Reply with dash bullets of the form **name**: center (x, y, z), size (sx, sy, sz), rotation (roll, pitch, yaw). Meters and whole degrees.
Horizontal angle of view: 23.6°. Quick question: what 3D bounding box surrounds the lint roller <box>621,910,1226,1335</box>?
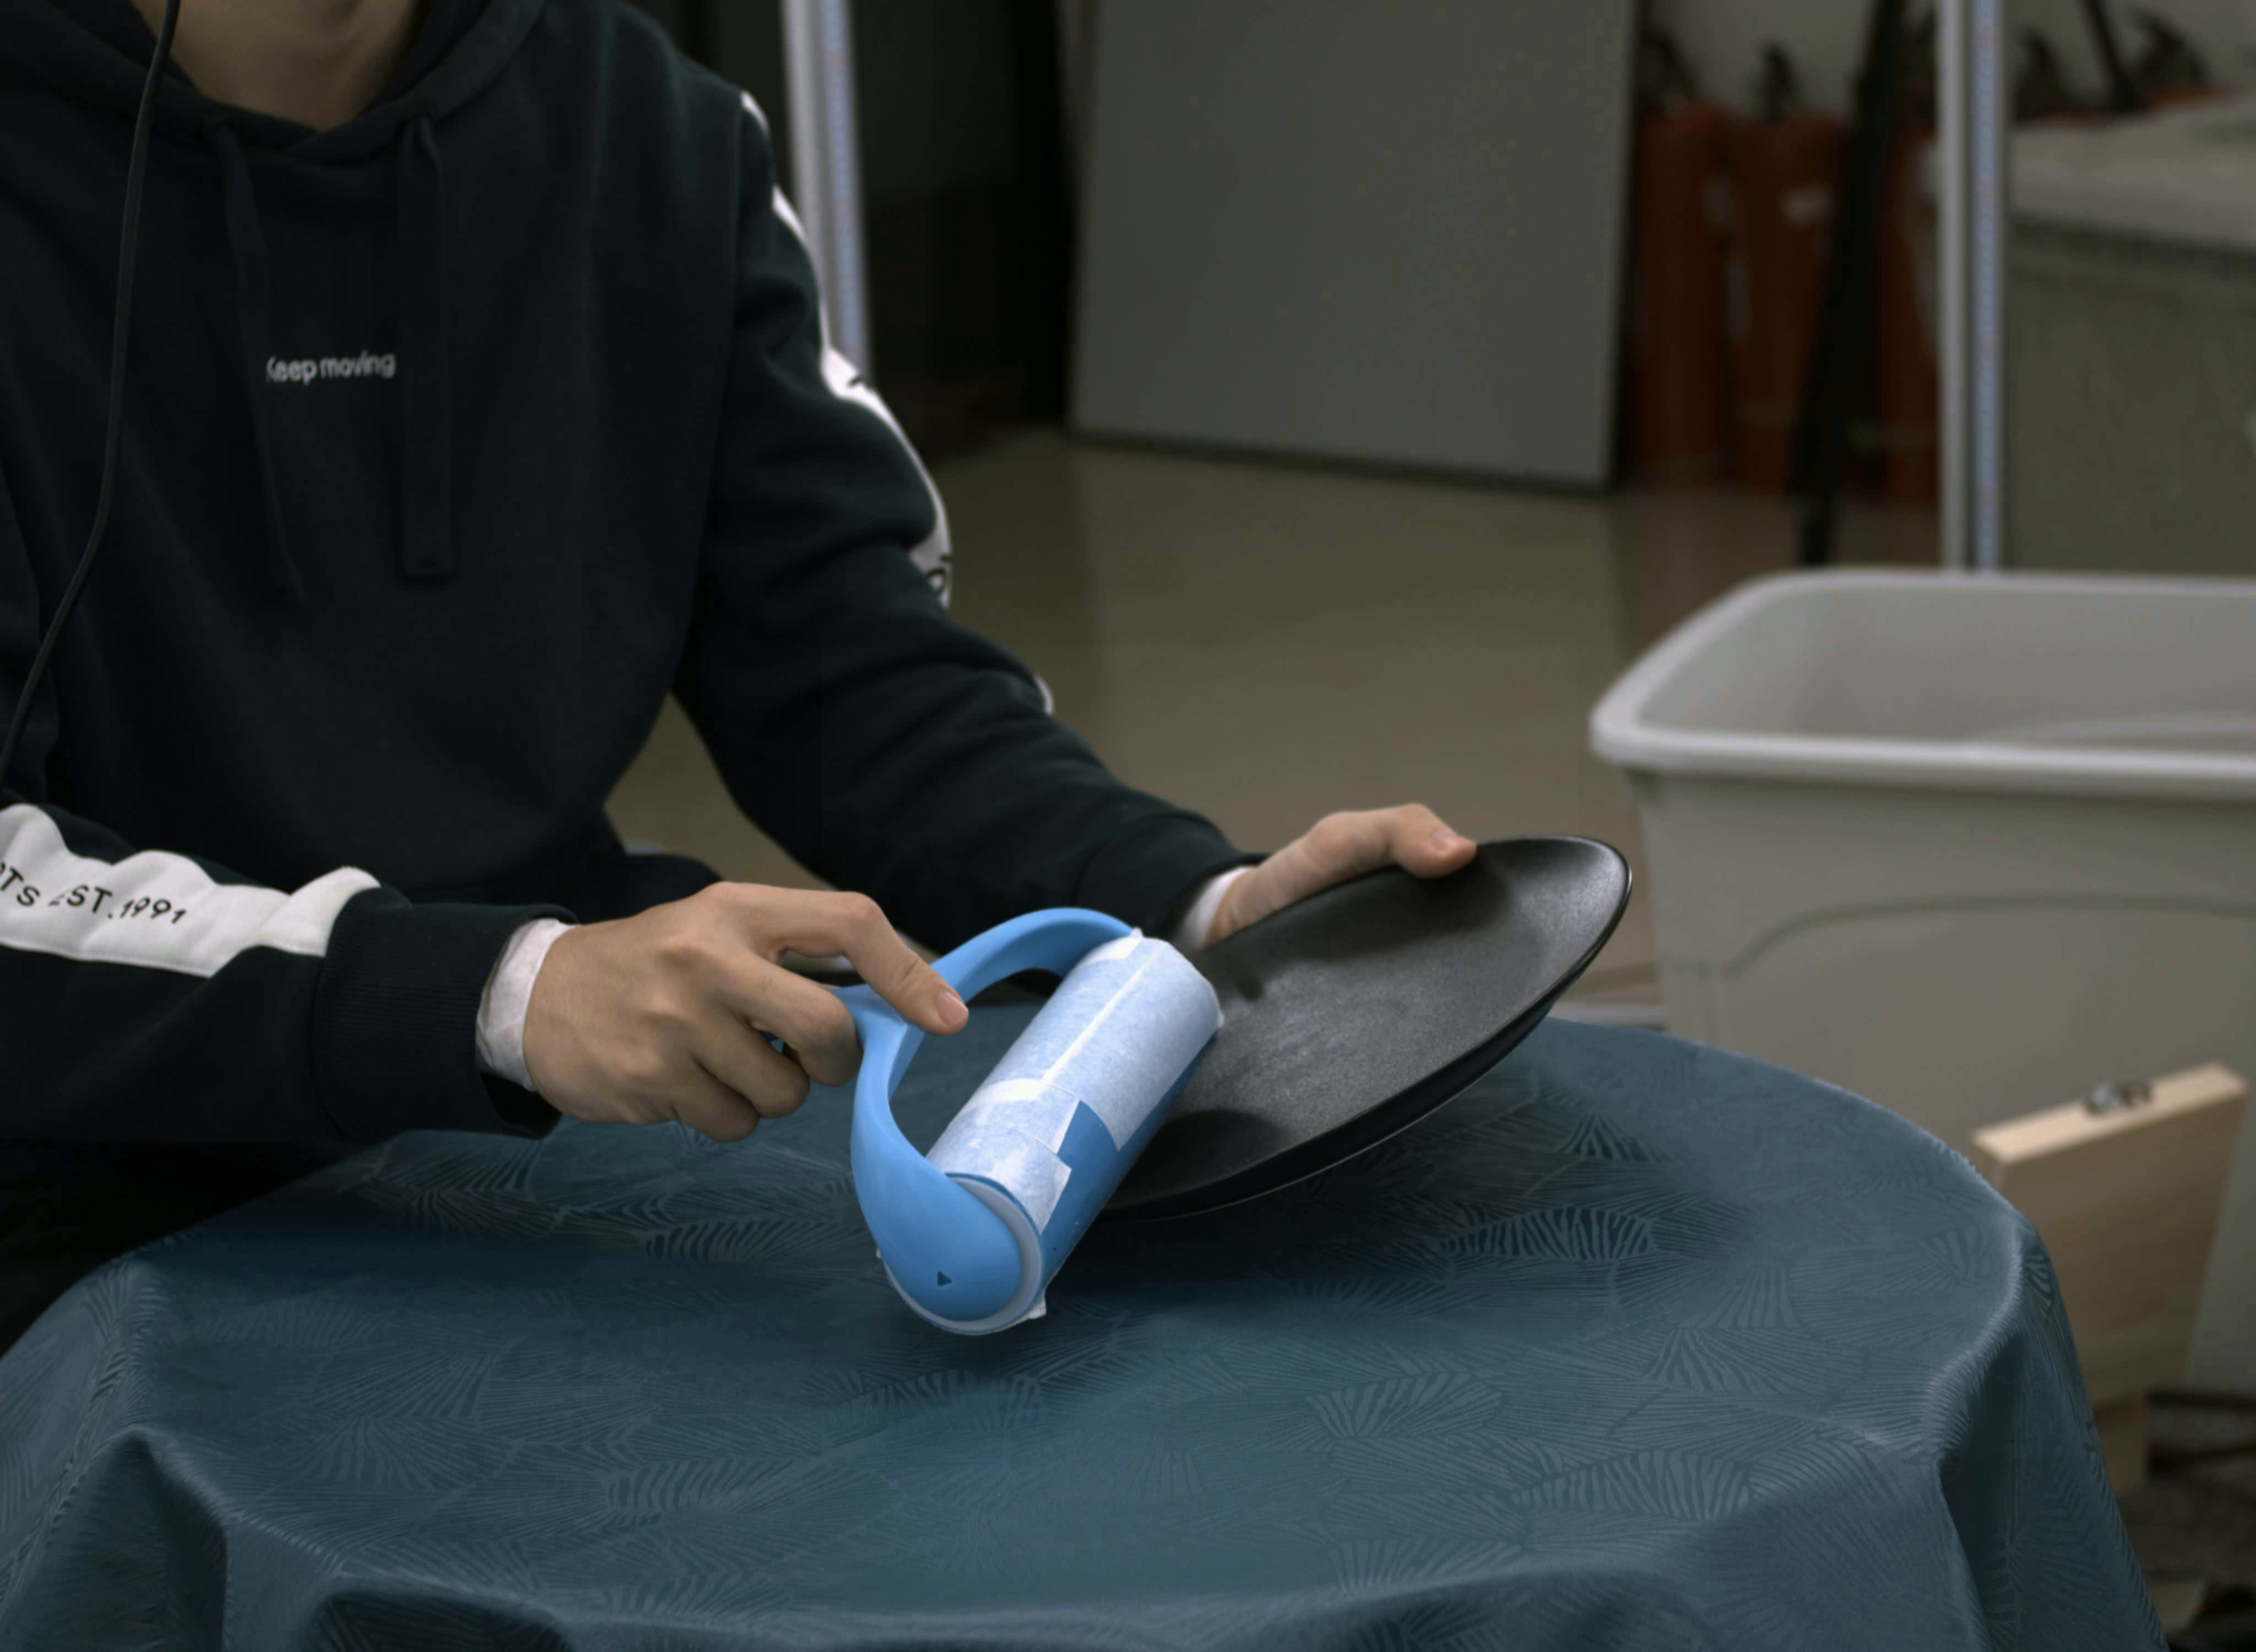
- **lint roller**: center (-0.076, 0.085, 1.702), size (0.179, 0.068, 0.228), rotation (8, 24, 13)

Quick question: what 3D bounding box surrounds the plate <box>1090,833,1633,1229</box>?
- **plate**: center (0.059, 0.072, 1.761), size (0.243, 0.023, 0.245), rotation (-26, 14, 6)
